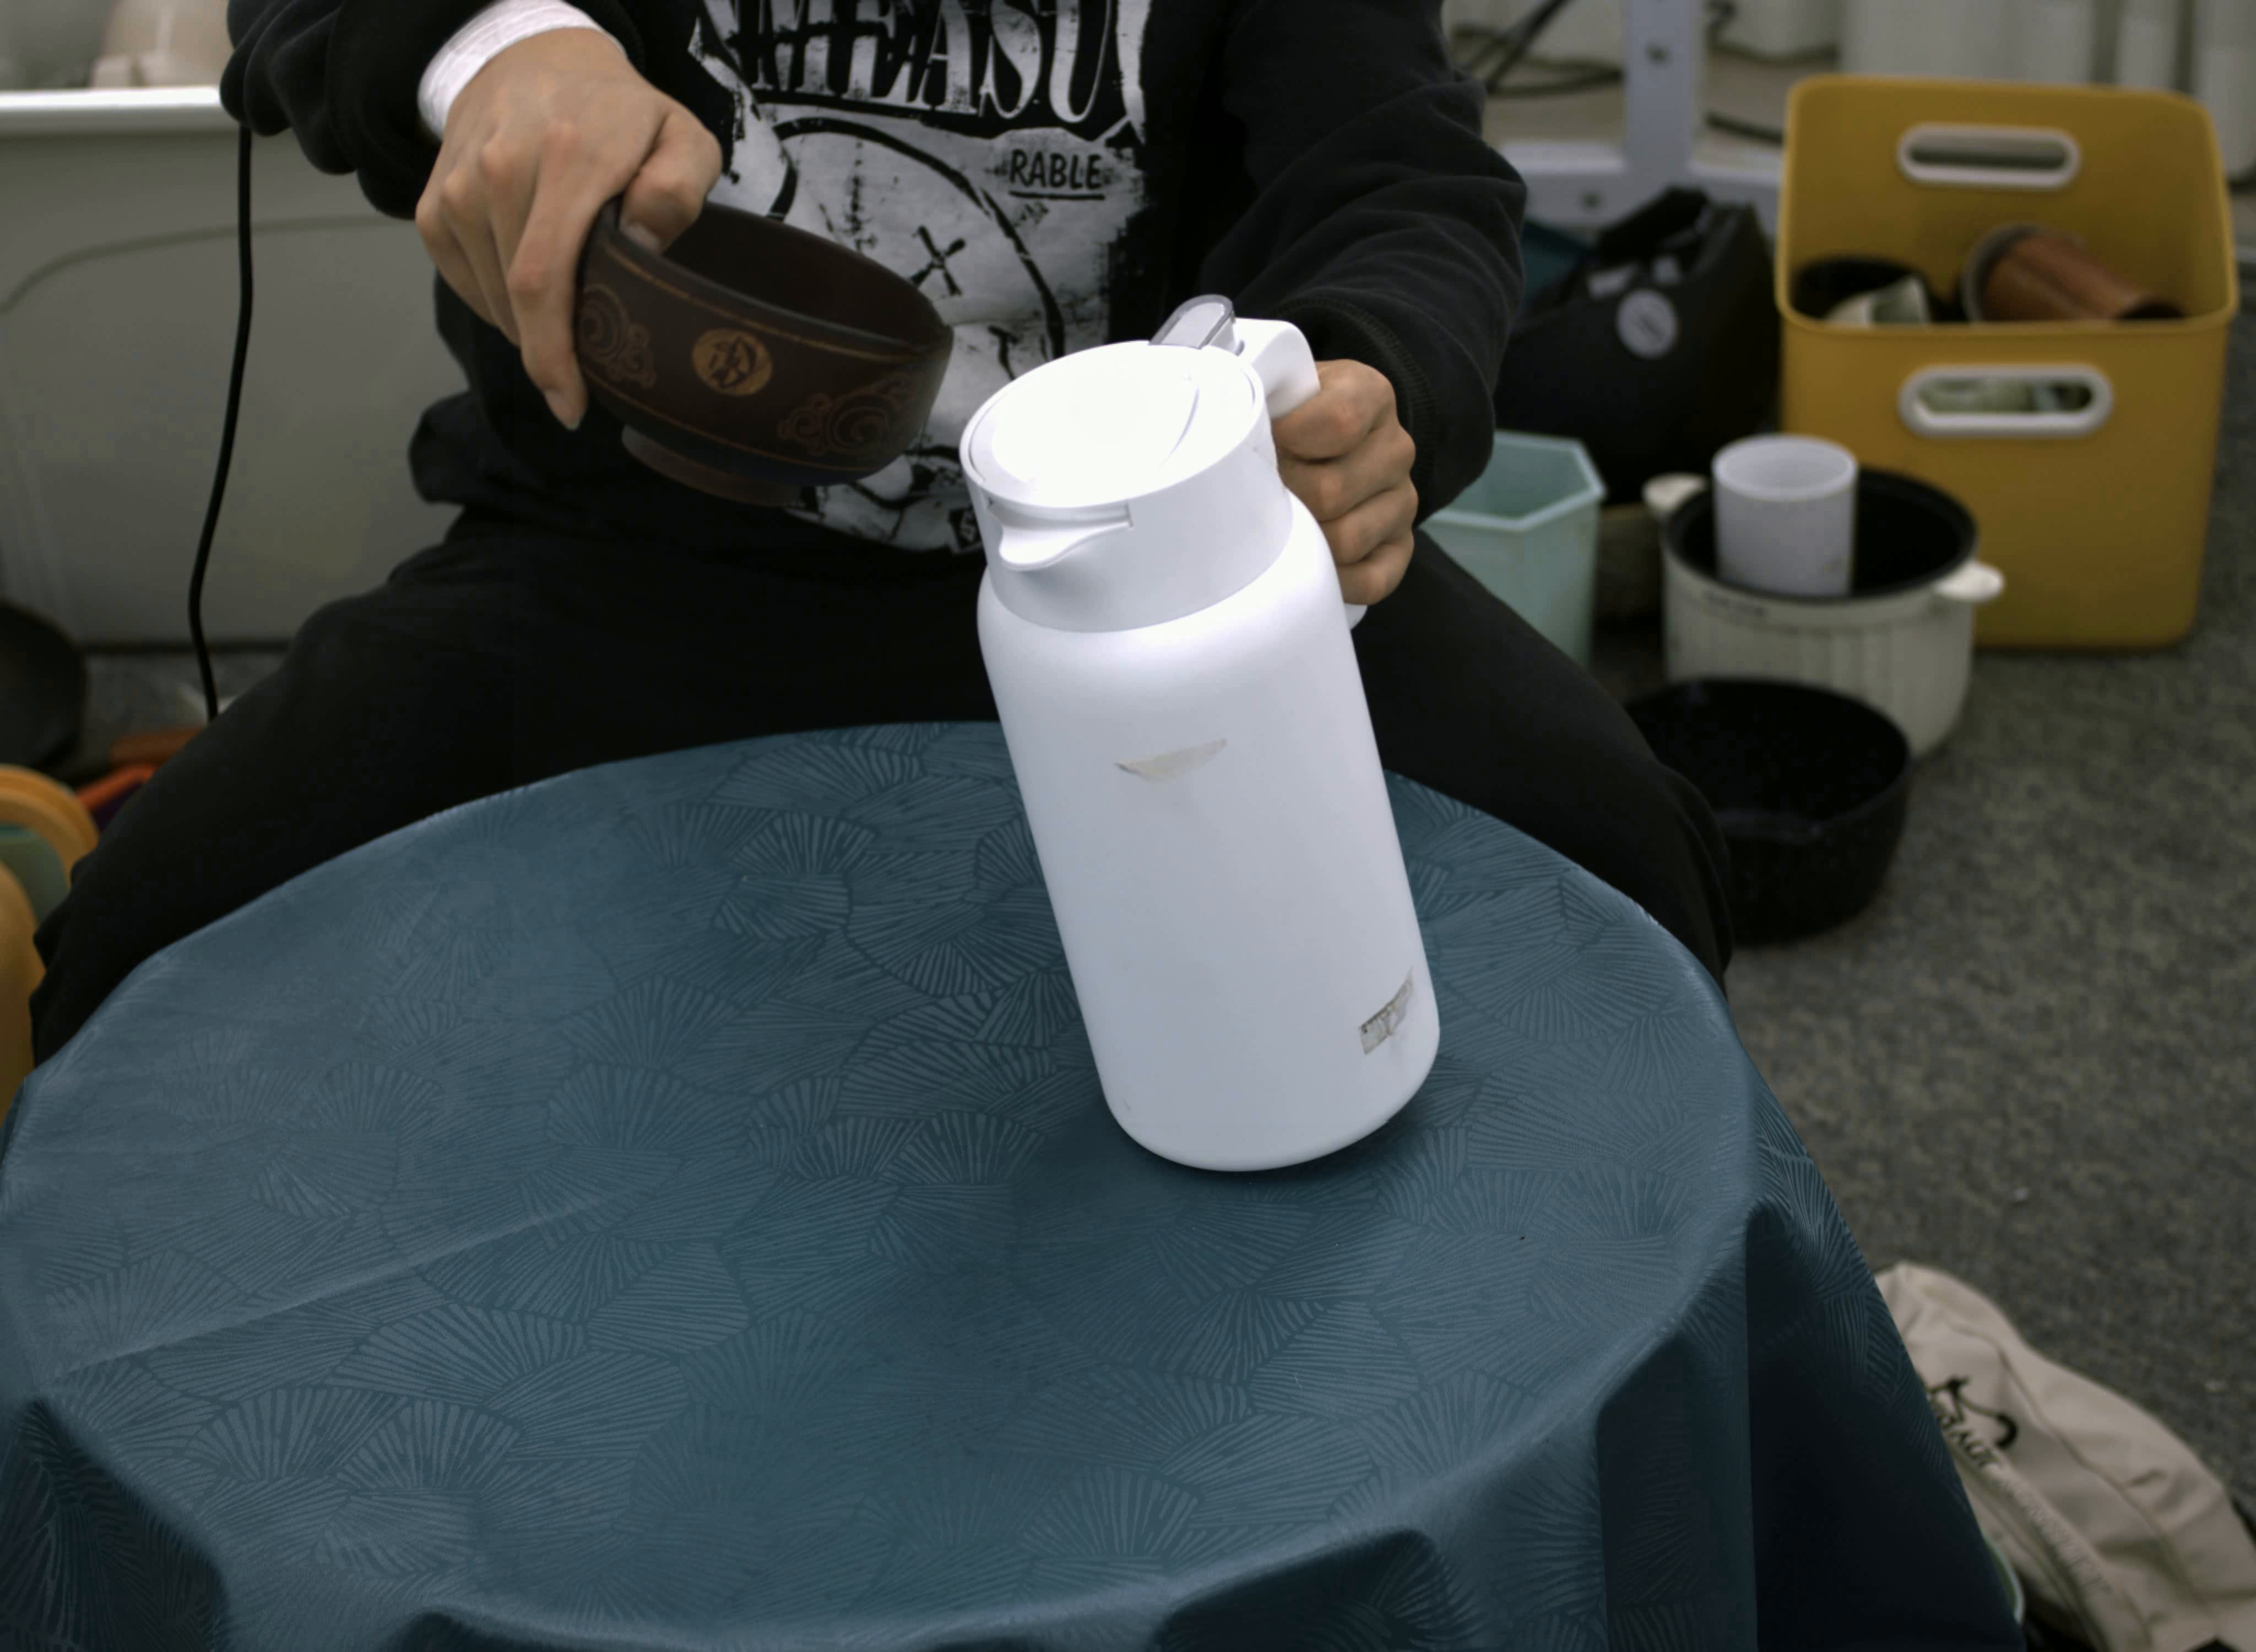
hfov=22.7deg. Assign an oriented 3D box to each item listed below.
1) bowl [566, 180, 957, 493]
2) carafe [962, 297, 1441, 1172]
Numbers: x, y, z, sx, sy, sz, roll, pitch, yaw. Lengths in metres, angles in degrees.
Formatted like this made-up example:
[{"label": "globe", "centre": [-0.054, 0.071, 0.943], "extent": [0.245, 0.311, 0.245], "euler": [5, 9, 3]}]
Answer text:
[{"label": "bowl", "centre": [-0.117, -0.145, 1.728], "extent": [0.117, 0.069, 0.119], "euler": [18, 16, -5]}, {"label": "carafe", "centre": [0.029, -0.033, 1.848], "extent": [0.123, 0.266, 0.176], "euler": [3, 36, 29]}]
